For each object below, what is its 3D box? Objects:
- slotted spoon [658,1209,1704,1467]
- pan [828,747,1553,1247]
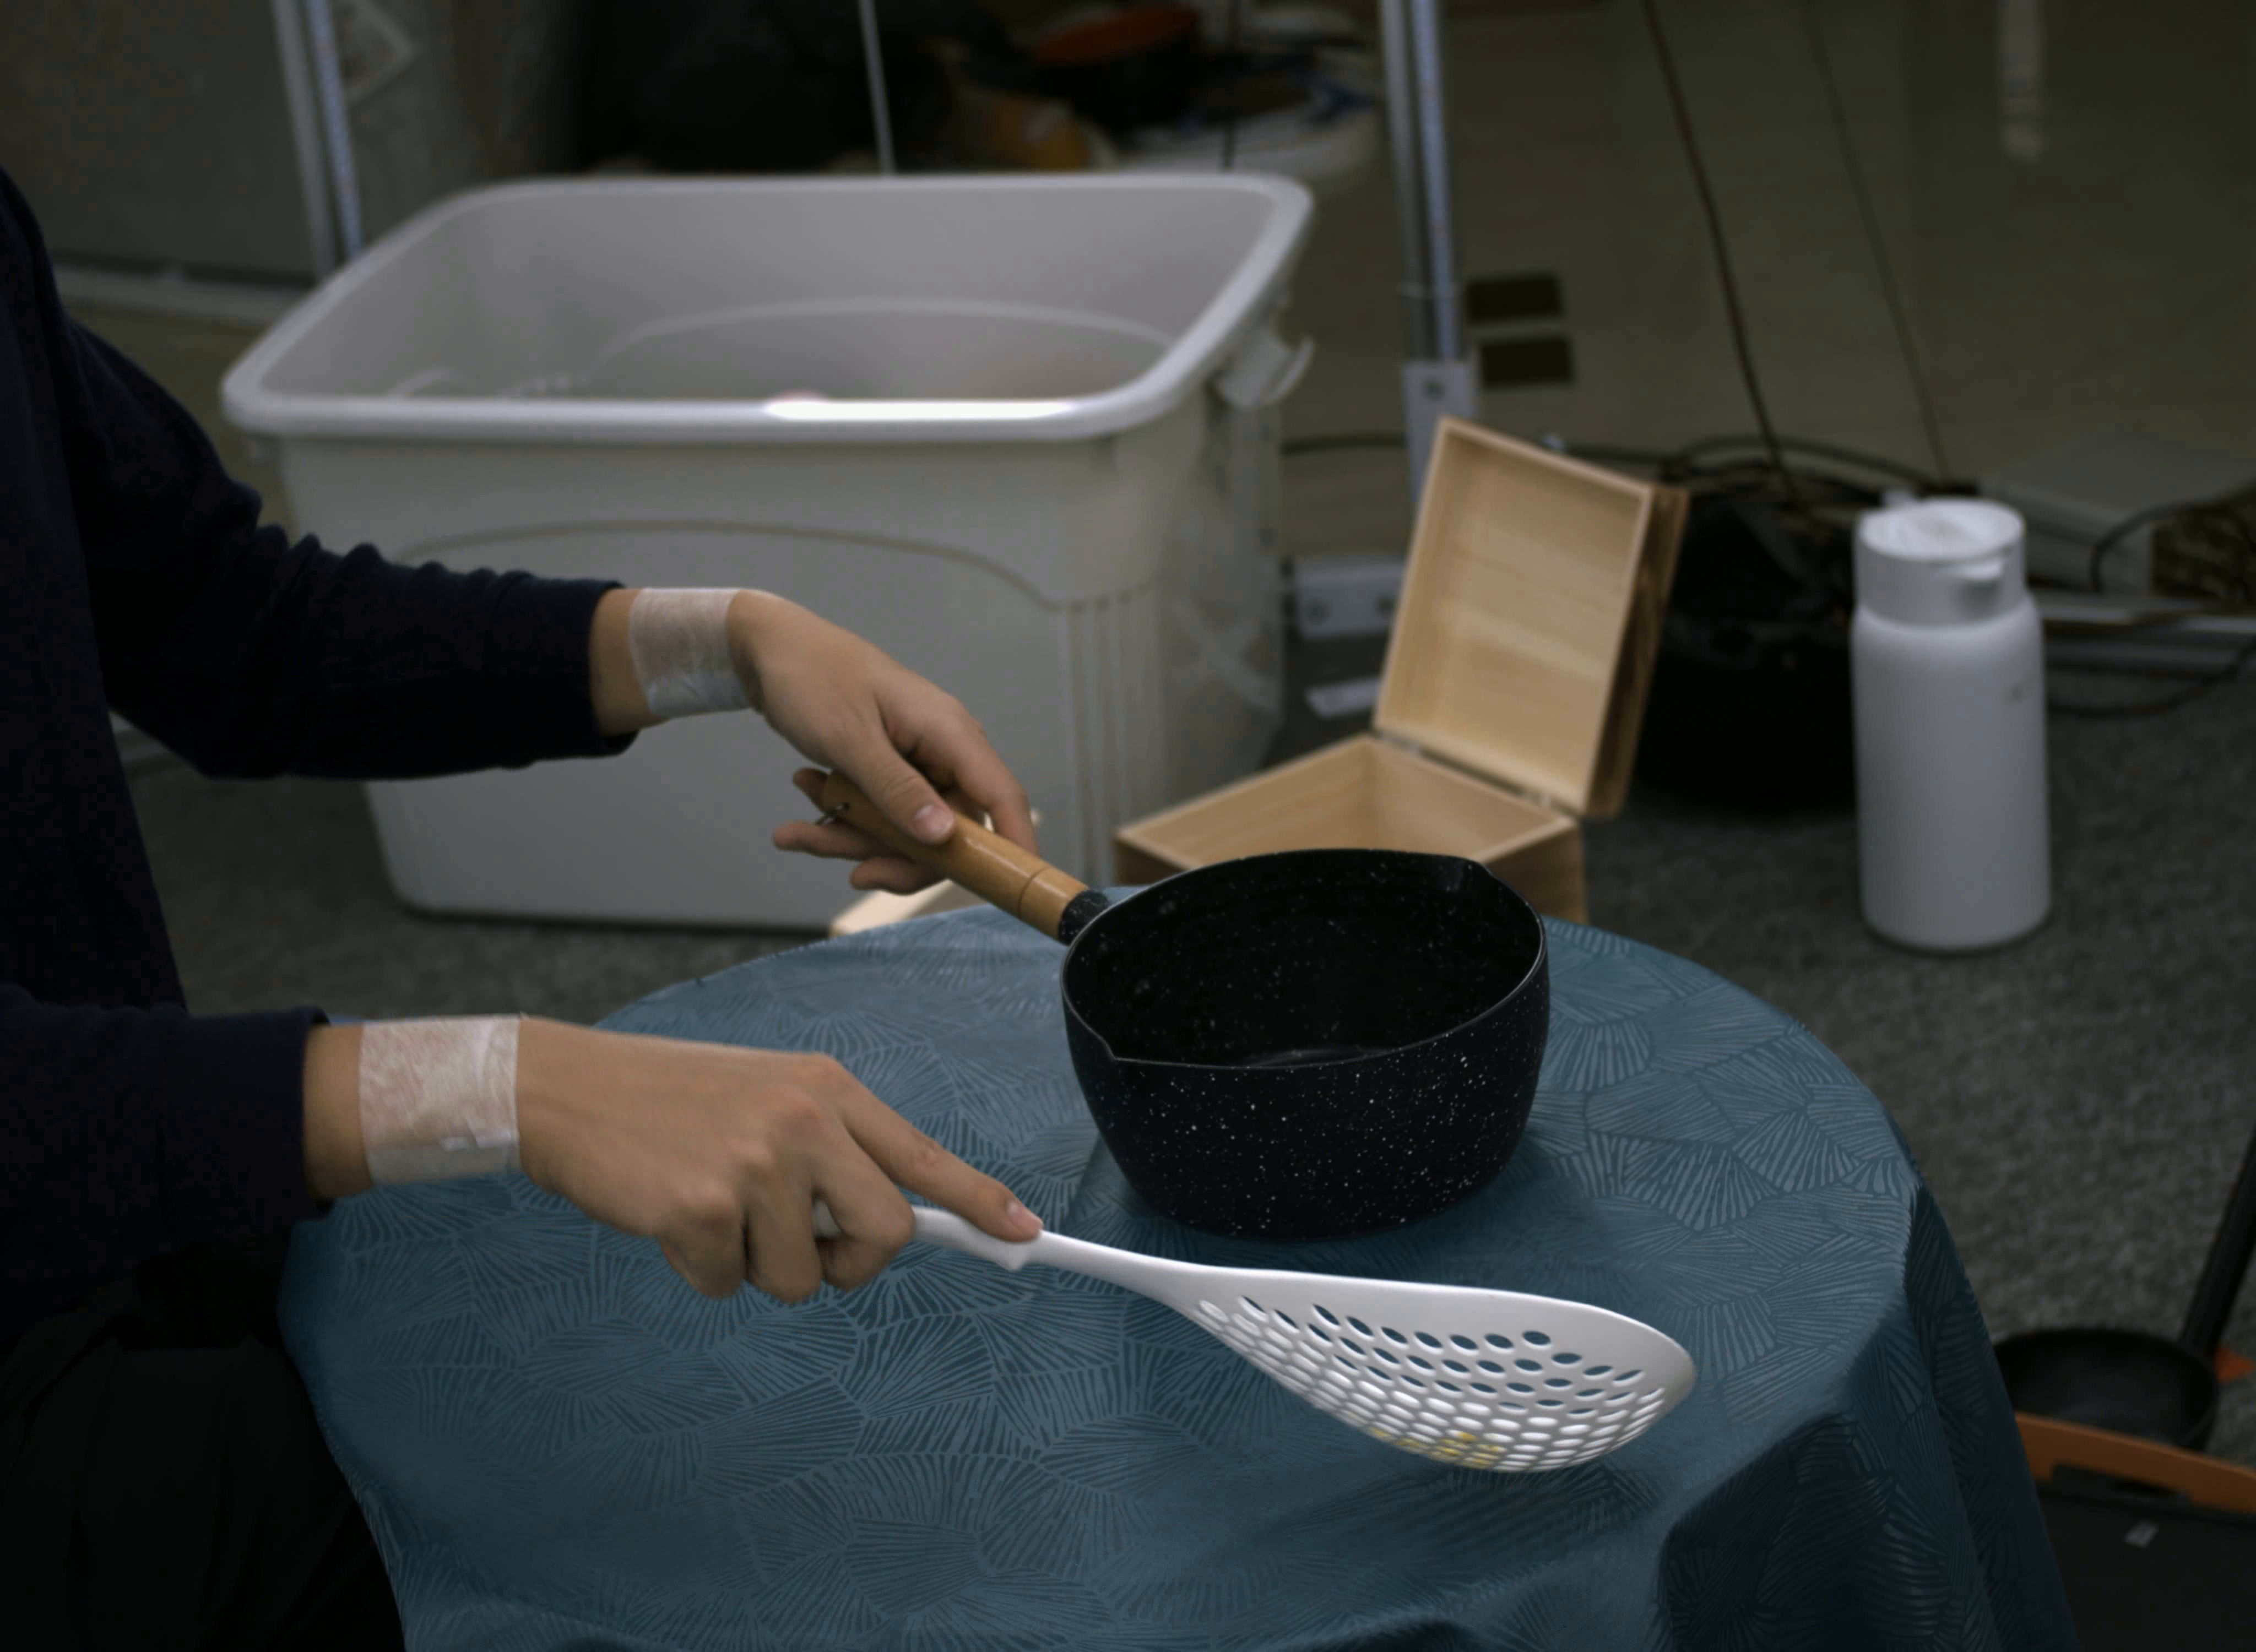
[{"bbox_3d":[0.017,0.159,1.868,0.348,0.050,0.138,17,-19,-9],"label":"slotted spoon"},{"bbox_3d":[0.011,0.058,2.188,0.340,0.110,0.205,18,36,39],"label":"pan"}]
